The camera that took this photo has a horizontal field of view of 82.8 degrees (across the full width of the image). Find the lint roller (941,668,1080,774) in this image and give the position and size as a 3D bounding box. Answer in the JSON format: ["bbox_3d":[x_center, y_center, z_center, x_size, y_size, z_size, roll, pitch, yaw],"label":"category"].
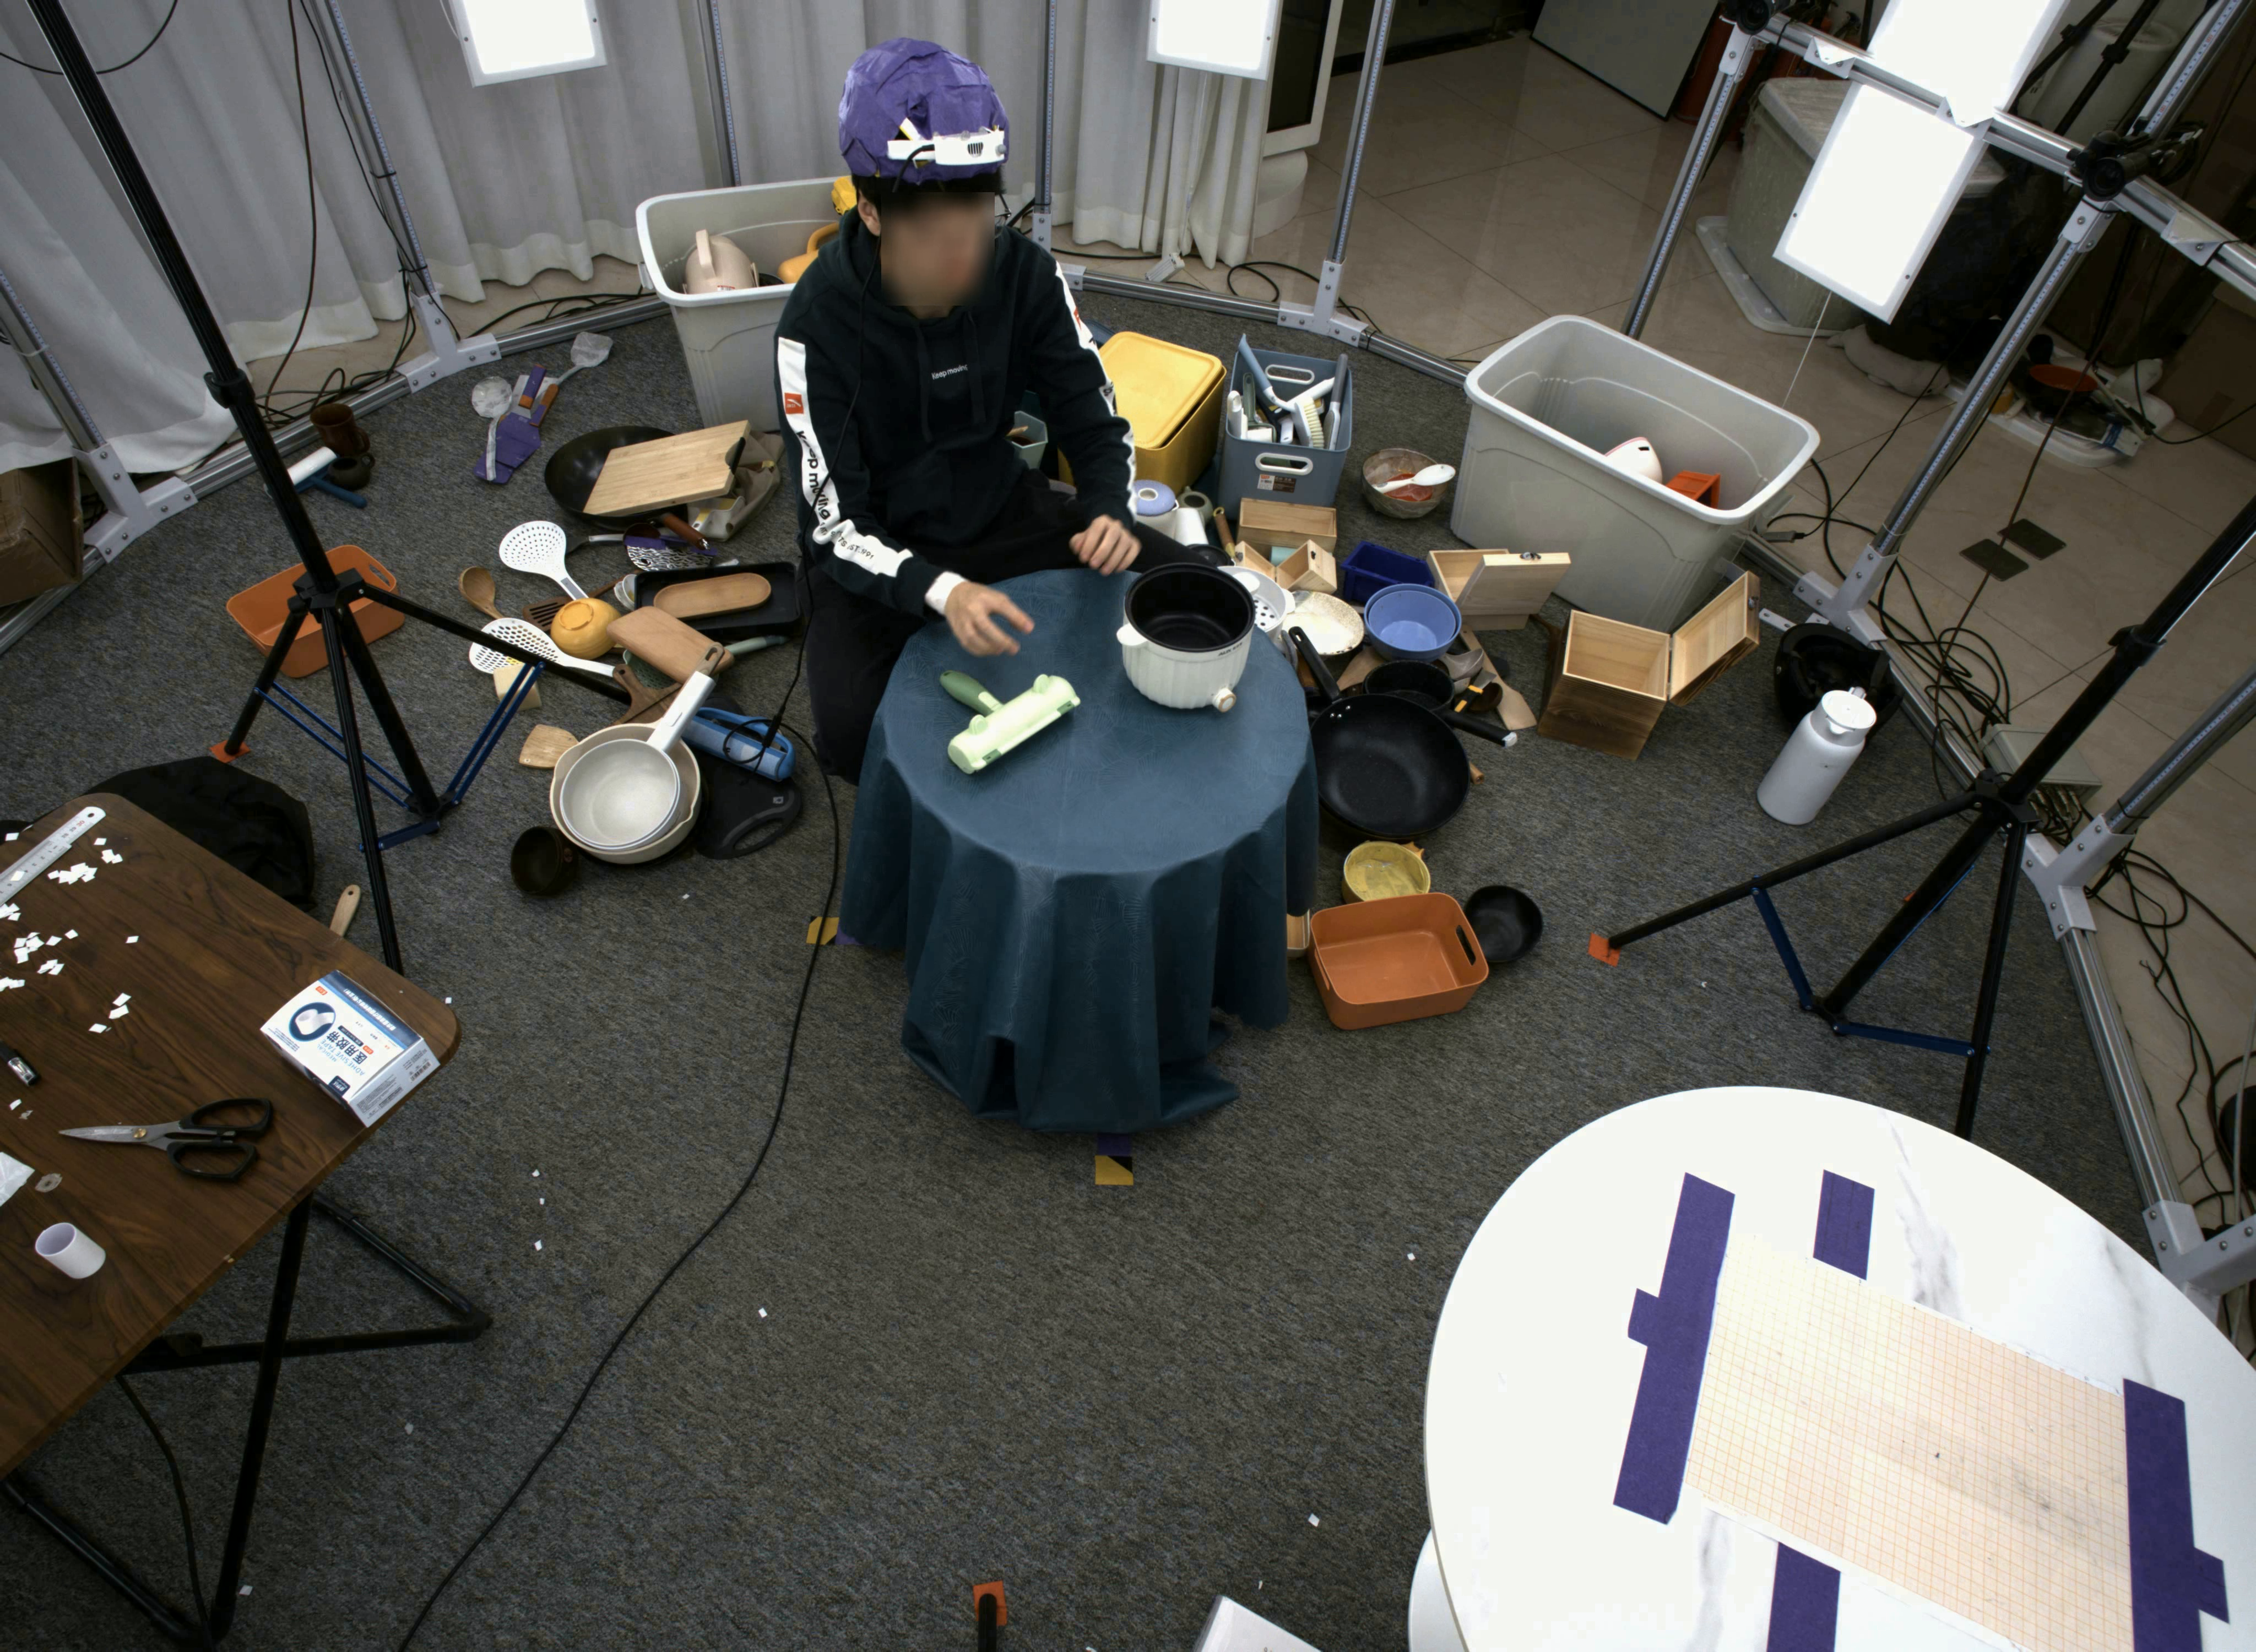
[{"bbox_3d":[-0.194,-0.178,1.761,0.200,0.080,0.186,-36,65,-29],"label":"lint roller"}]

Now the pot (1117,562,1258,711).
[{"bbox_3d":[0.086,-0.258,1.809,0.242,0.139,0.194,-29,54,-24],"label":"pot"}]
